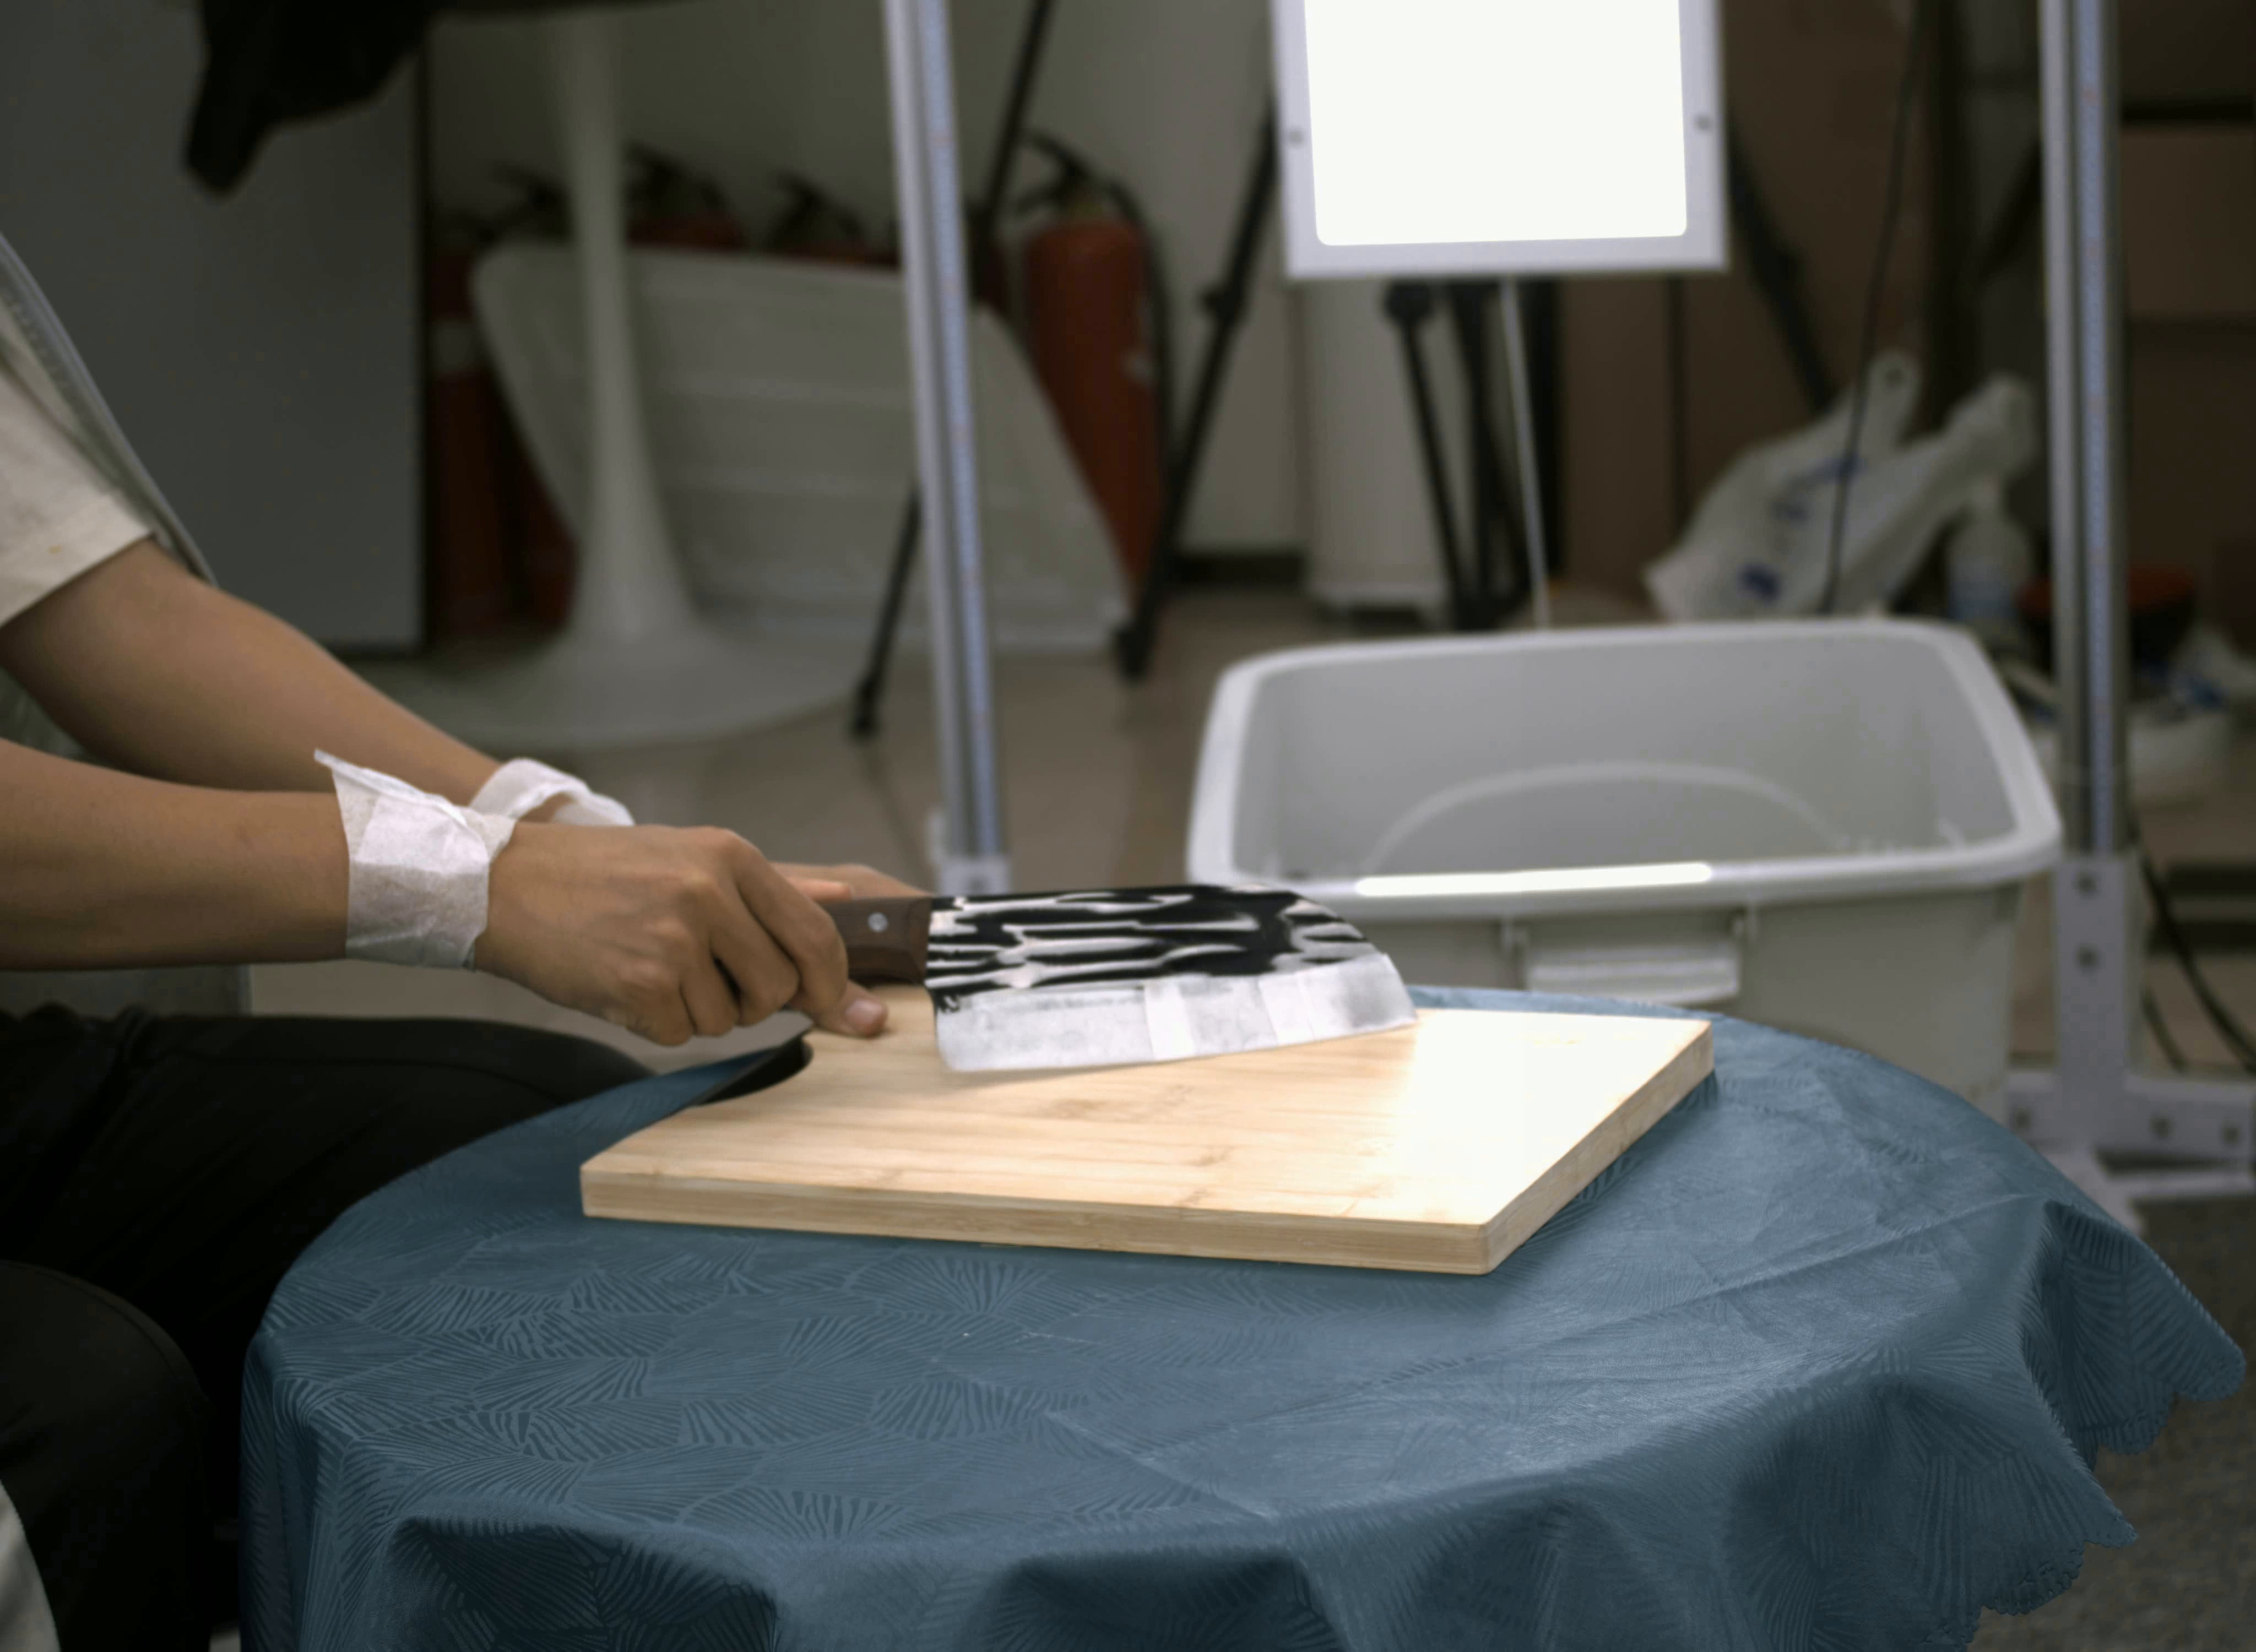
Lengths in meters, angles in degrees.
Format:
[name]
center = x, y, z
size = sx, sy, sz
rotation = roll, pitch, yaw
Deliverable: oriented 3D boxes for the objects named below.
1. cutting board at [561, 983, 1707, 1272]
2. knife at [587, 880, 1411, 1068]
[cutting board]
center = 0.006, 0.103, 1.955
size = 0.354, 0.023, 0.246
rotation = 1, 15, 25
[knife]
center = -0.045, 0.054, 1.990
size = 0.296, 0.068, 0.024
rotation = -2, -20, -8
